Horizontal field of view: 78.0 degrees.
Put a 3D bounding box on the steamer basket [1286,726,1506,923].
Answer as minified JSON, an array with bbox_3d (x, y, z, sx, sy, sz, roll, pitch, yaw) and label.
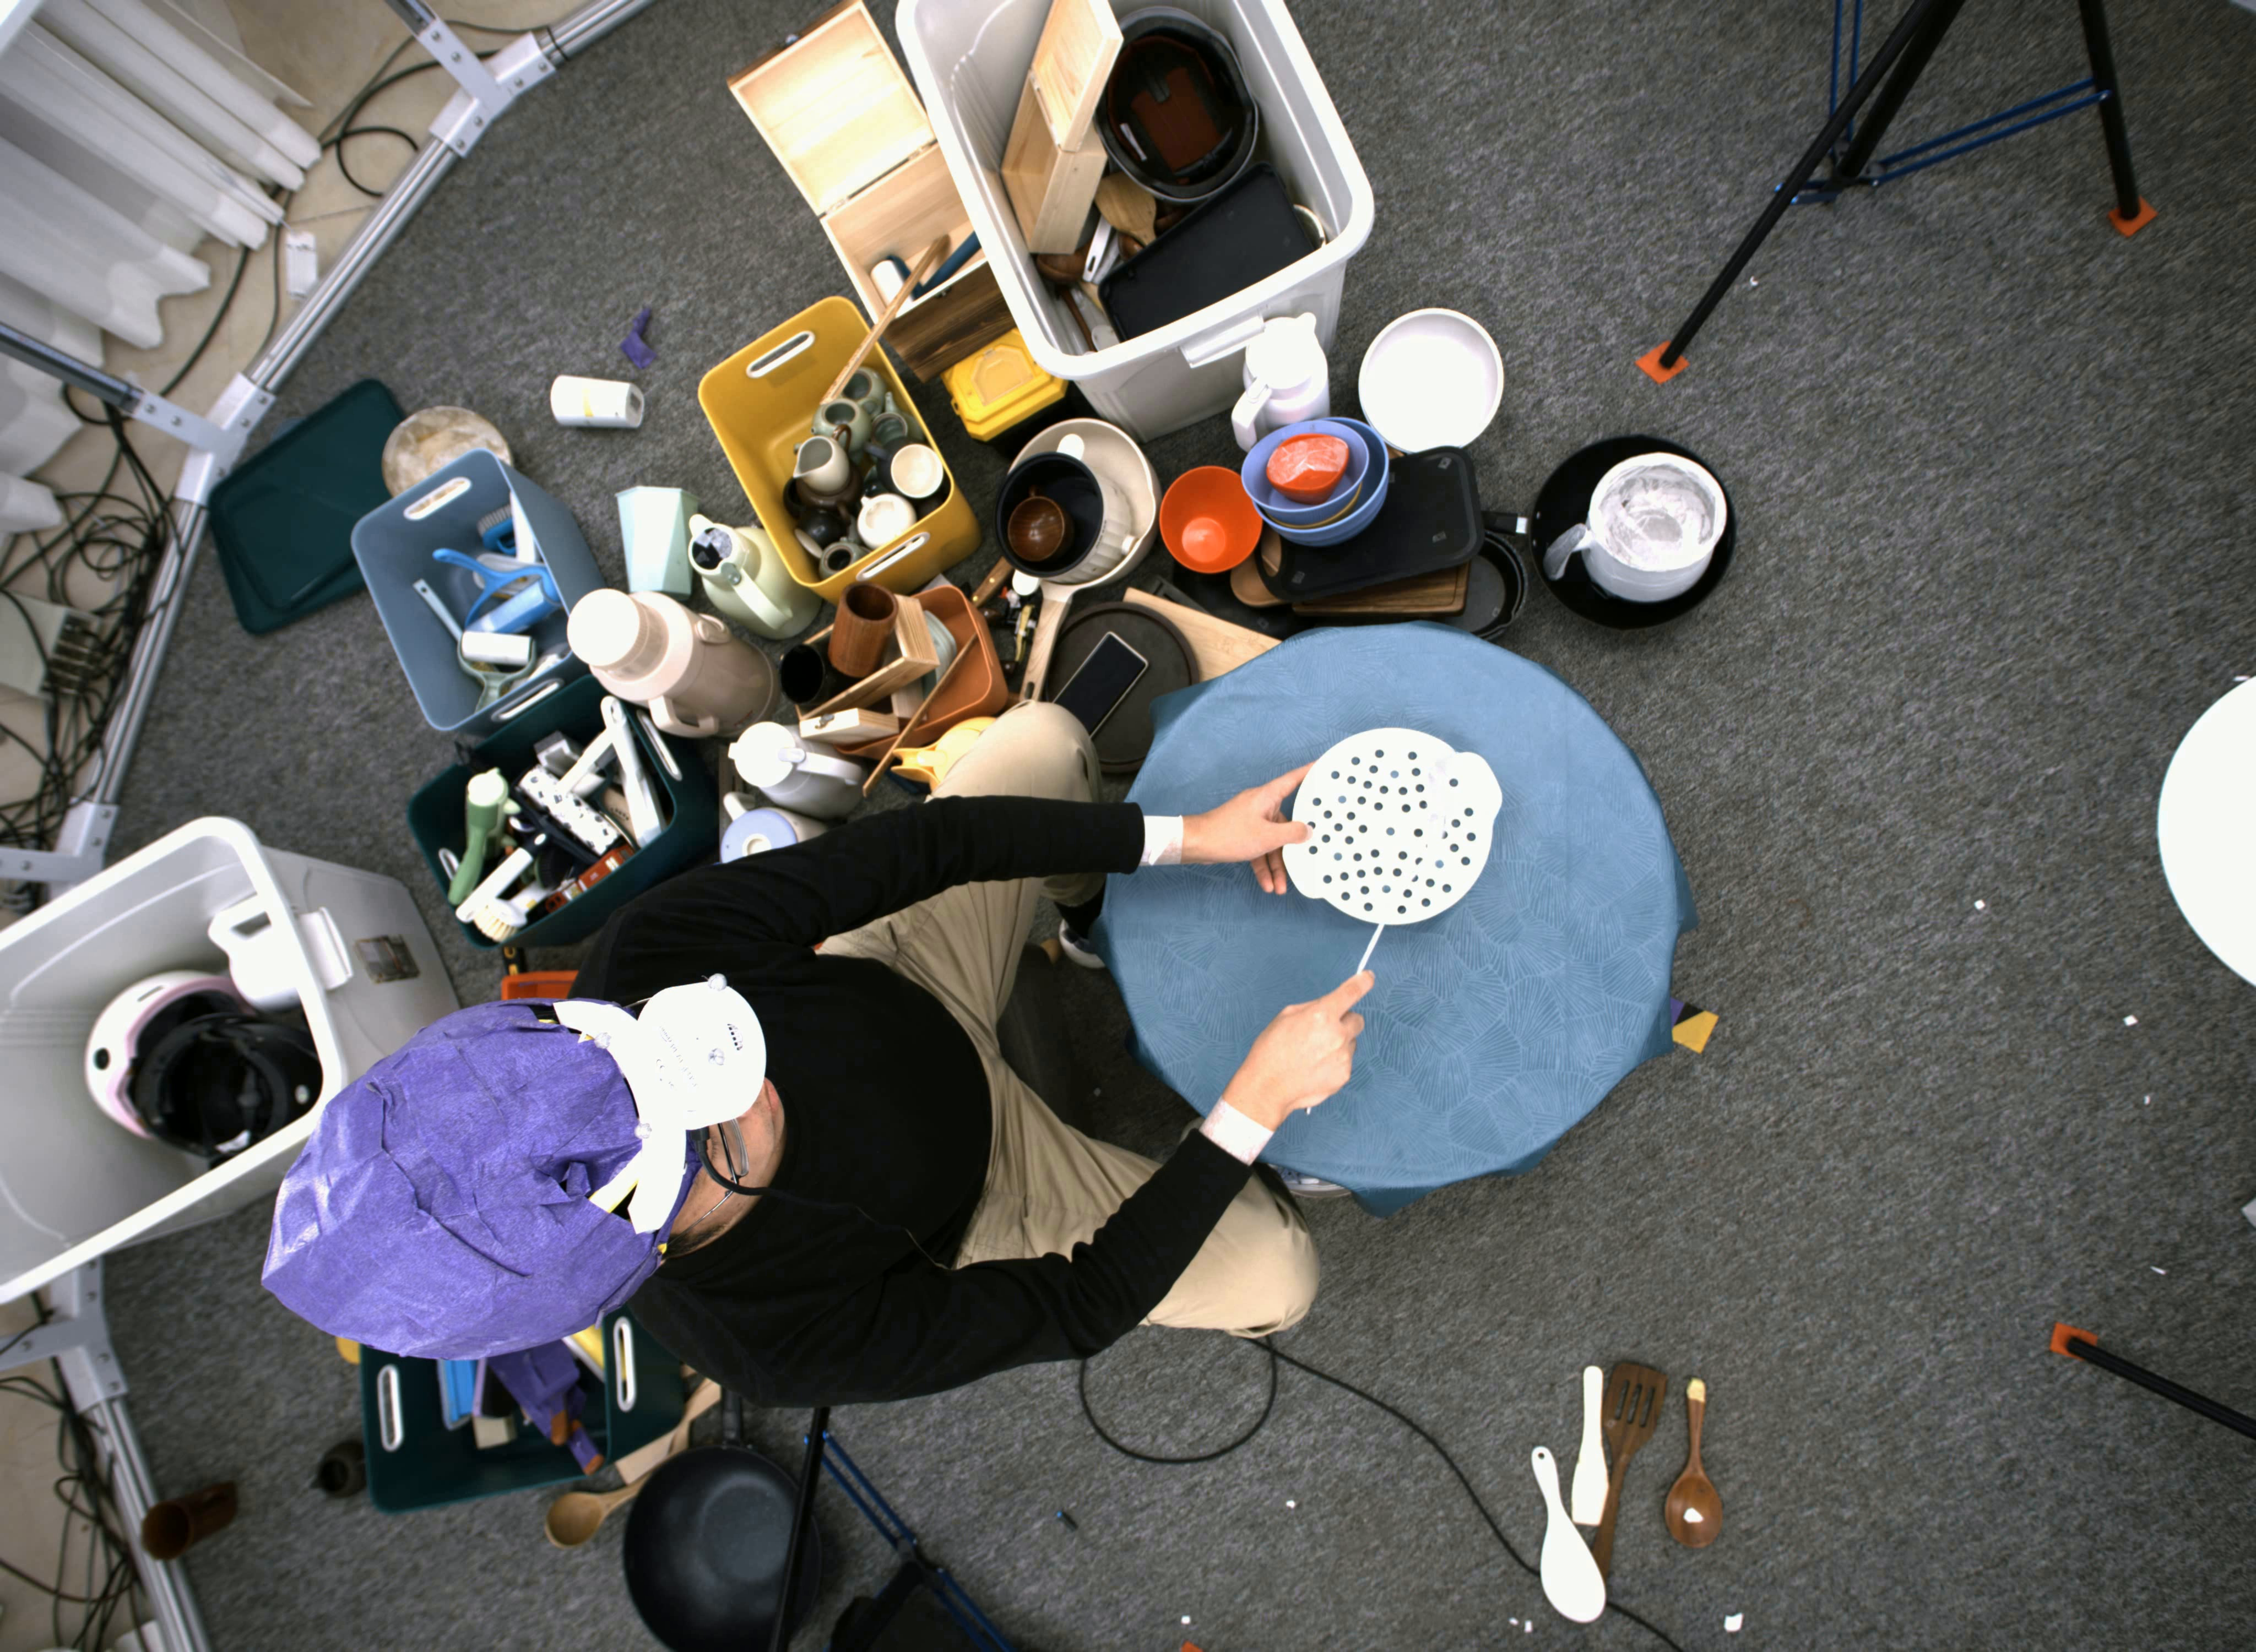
[{"bbox_3d":[0.277,-0.001,1.427,0.232,0.069,0.200,-26,81,9],"label":"steamer basket"}]

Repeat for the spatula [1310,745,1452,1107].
[{"bbox_3d":[0.237,0.092,1.310,0.045,0.099,0.363,27,85,4],"label":"spatula"}]
